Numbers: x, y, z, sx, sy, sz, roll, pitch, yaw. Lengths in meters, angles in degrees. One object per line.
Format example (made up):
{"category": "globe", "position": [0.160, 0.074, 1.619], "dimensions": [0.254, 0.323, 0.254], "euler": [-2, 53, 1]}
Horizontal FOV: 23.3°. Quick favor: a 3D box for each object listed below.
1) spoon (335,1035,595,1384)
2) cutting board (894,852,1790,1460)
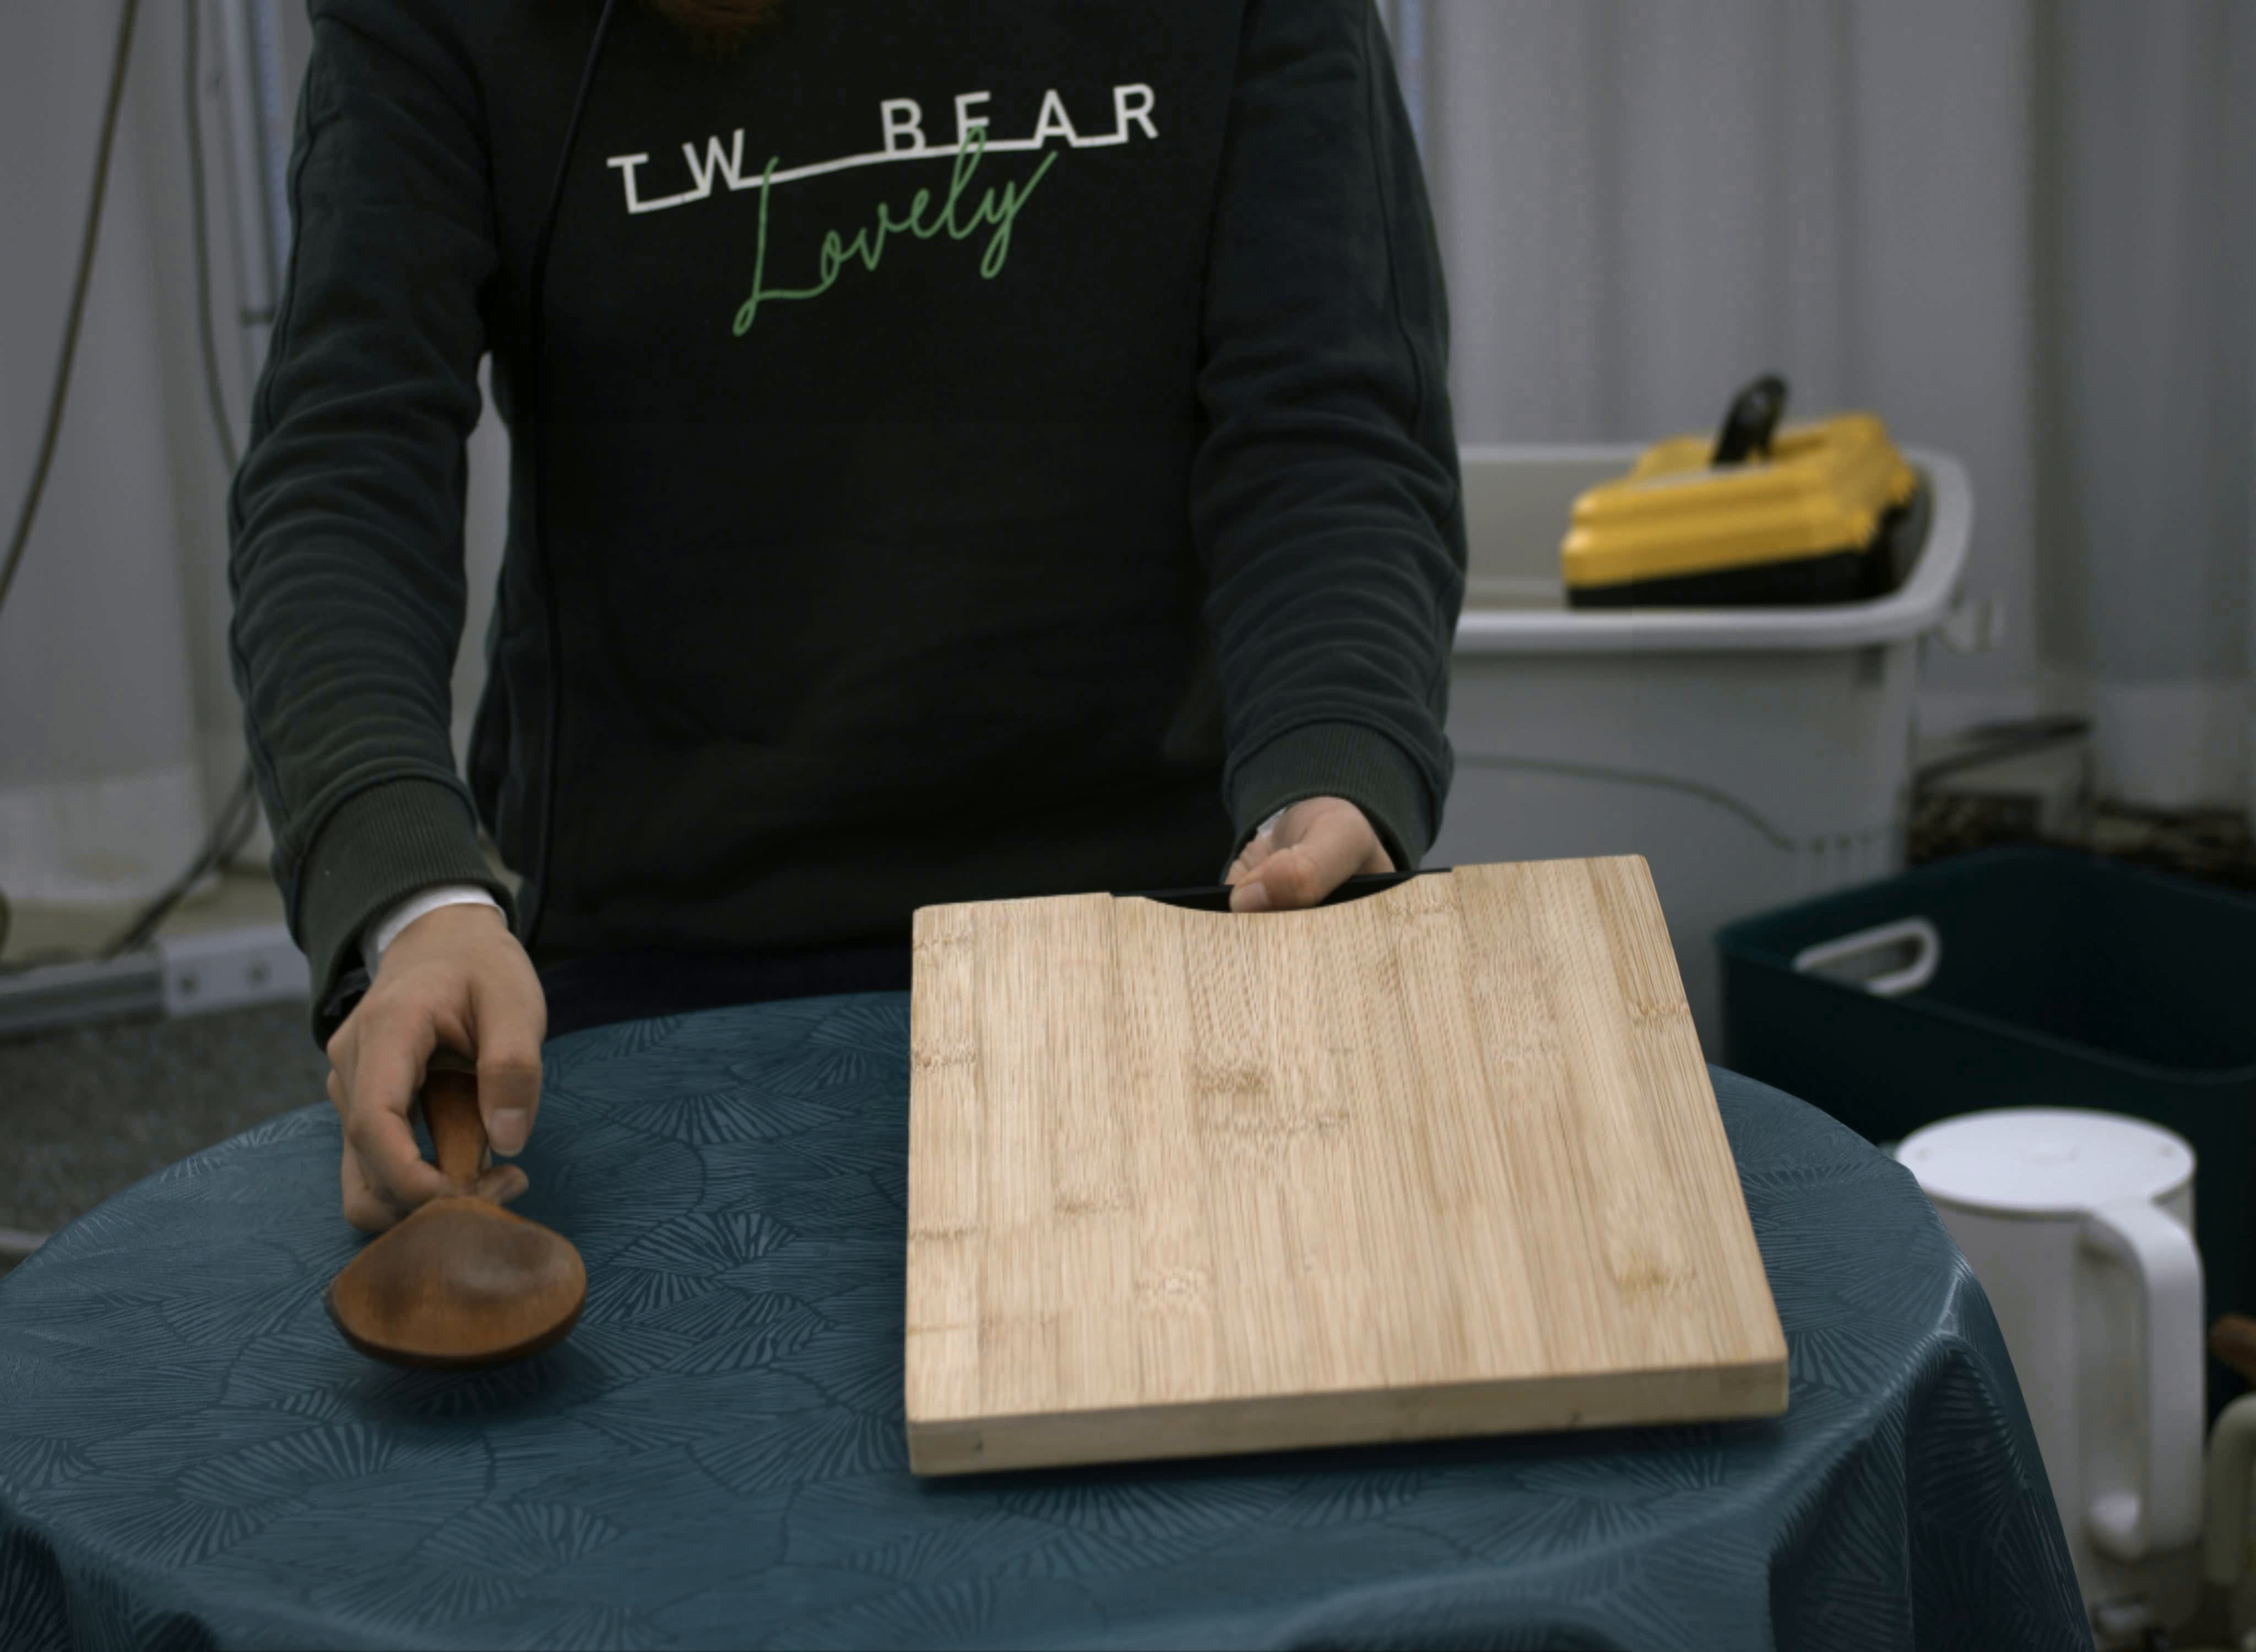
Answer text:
{"category": "spoon", "position": [-0.198, 0.115, 1.638], "dimensions": [0.075, 0.017, 0.218], "euler": [-6, 24, -4]}
{"category": "cutting board", "position": [0.055, 0.092, 1.631], "dimensions": [0.250, 0.023, 0.352], "euler": [-3, 24, -1]}
